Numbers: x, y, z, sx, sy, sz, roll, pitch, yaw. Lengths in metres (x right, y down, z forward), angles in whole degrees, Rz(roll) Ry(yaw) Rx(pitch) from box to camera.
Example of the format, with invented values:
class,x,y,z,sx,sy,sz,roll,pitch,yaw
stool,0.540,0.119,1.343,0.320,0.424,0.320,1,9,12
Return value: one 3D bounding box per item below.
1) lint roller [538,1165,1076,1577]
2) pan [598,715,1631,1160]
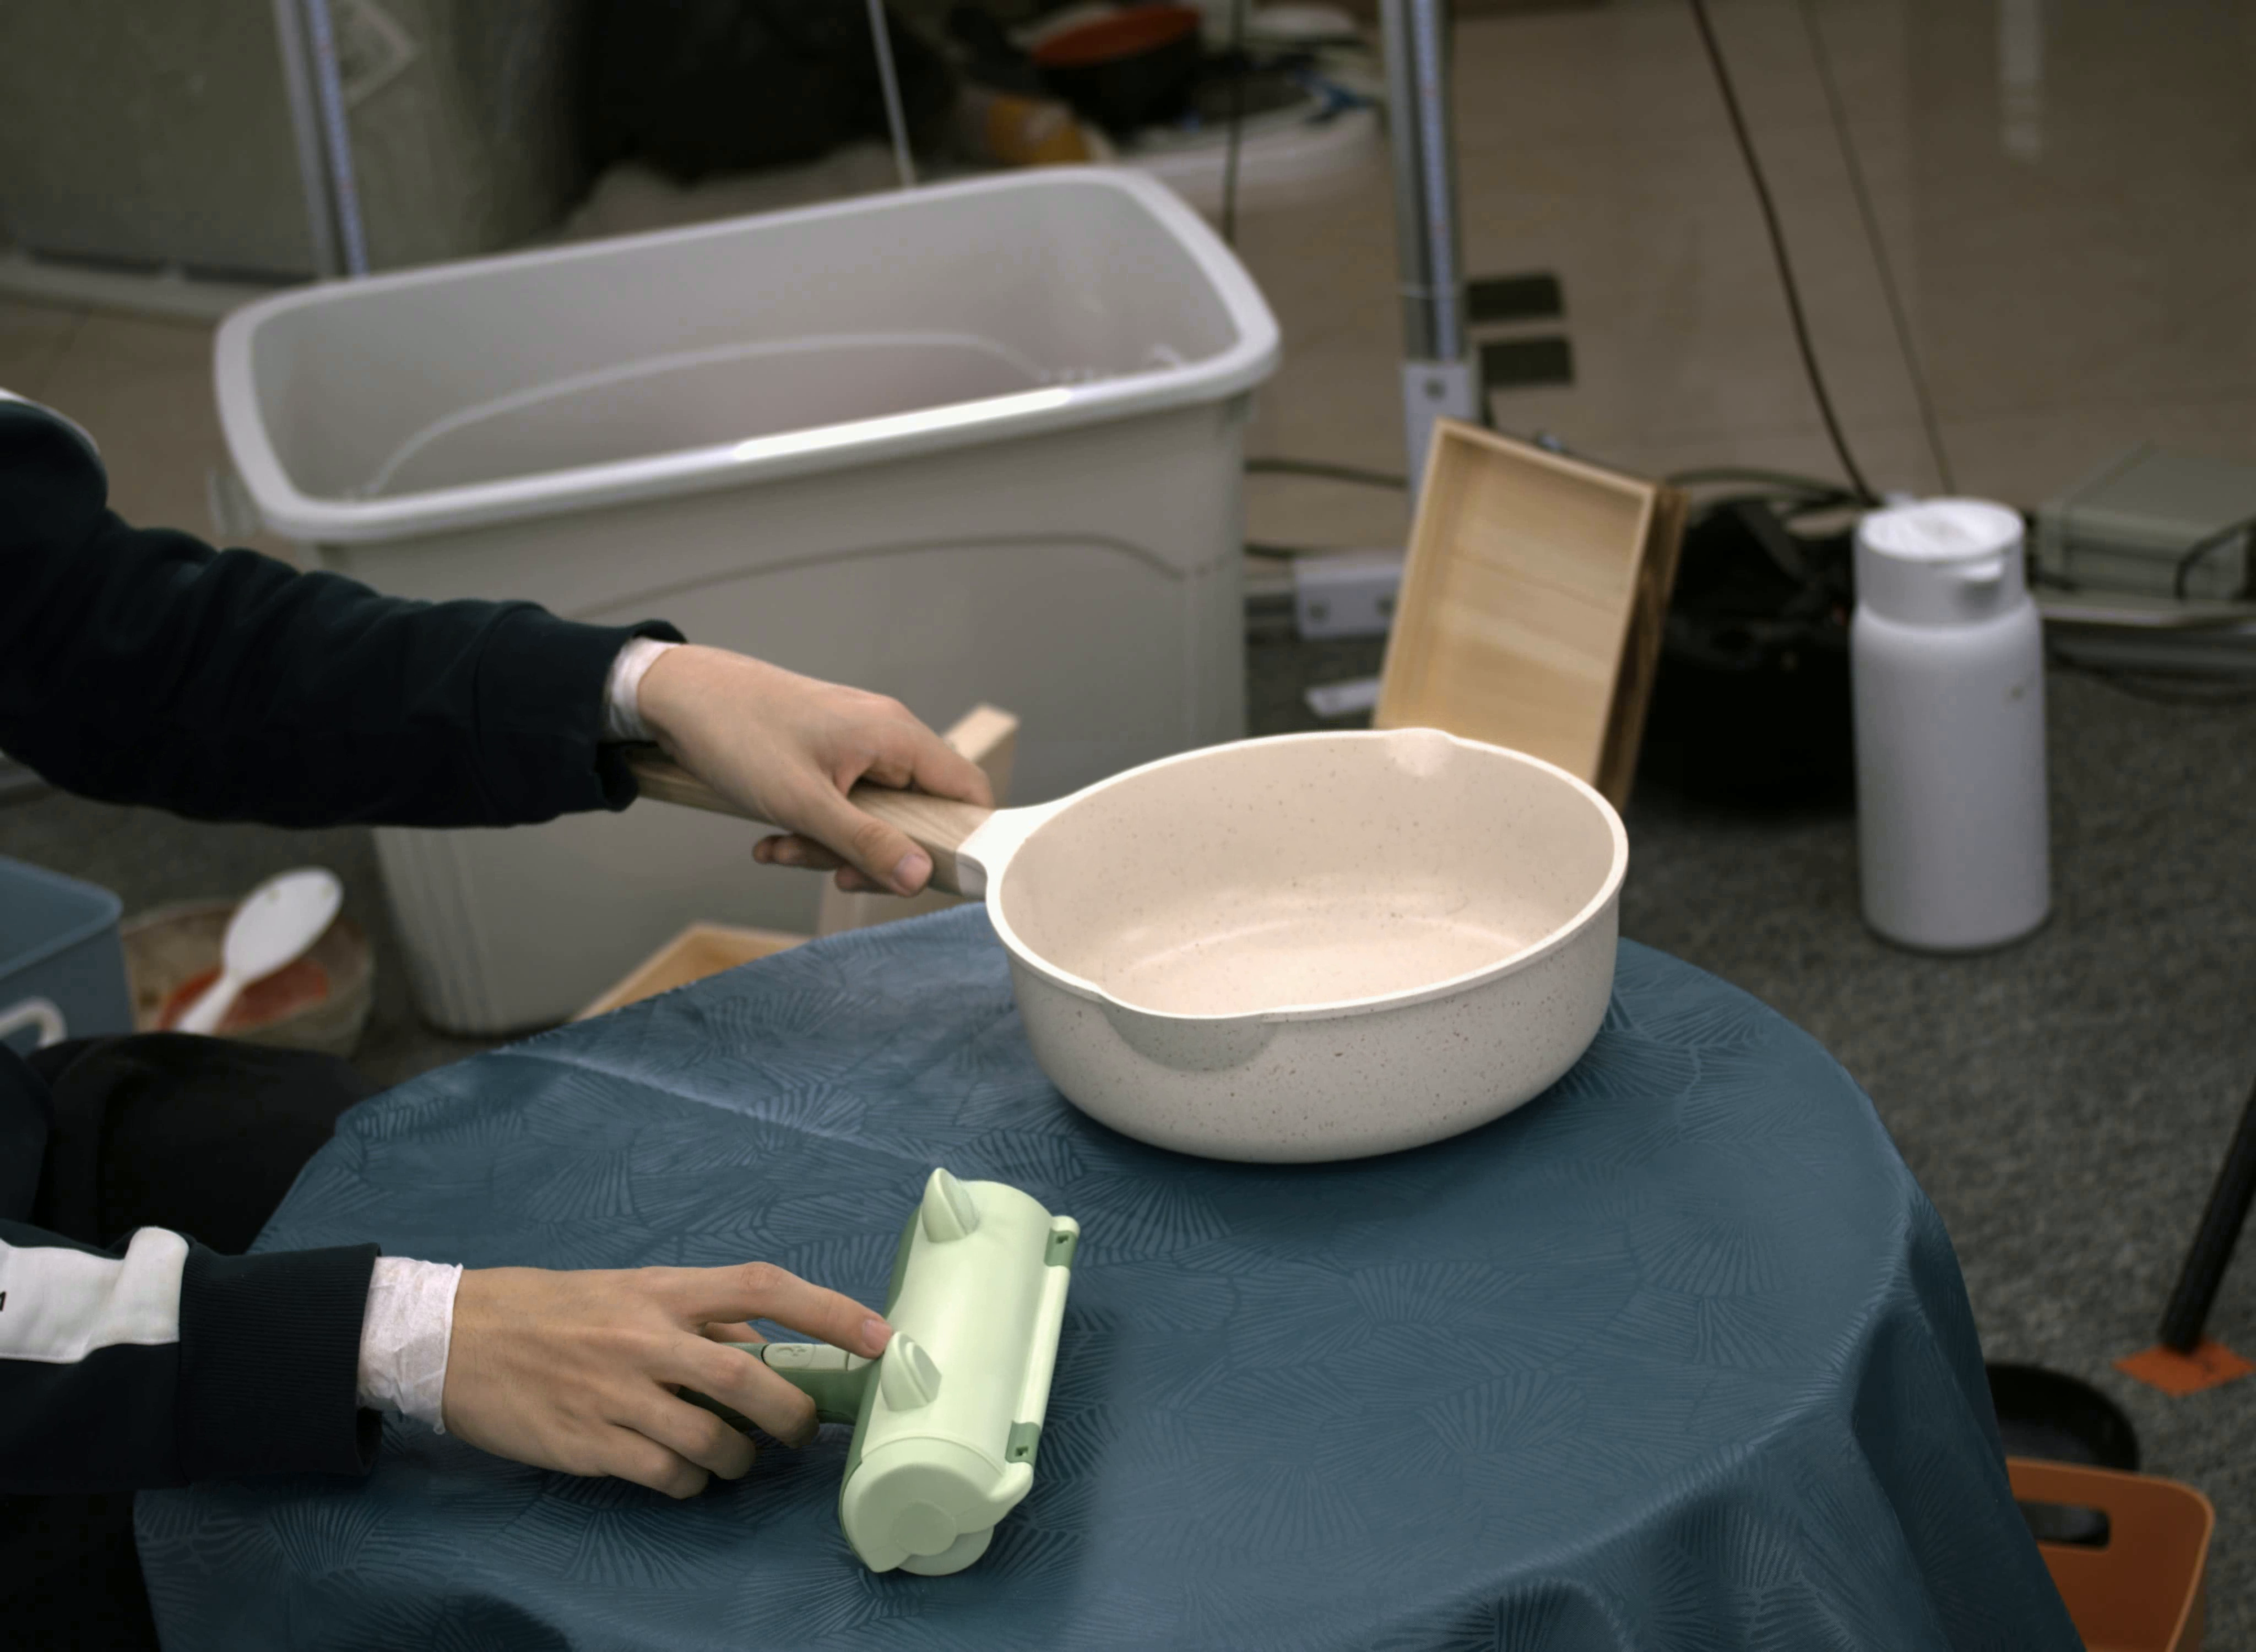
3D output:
class,x,y,z,sx,sy,sz,roll,pitch,yaw
lint roller,-0.117,0.181,1.987,0.183,0.083,0.195,3,26,4
pan,-0.010,0.034,2.253,0.433,0.103,0.260,5,29,24
